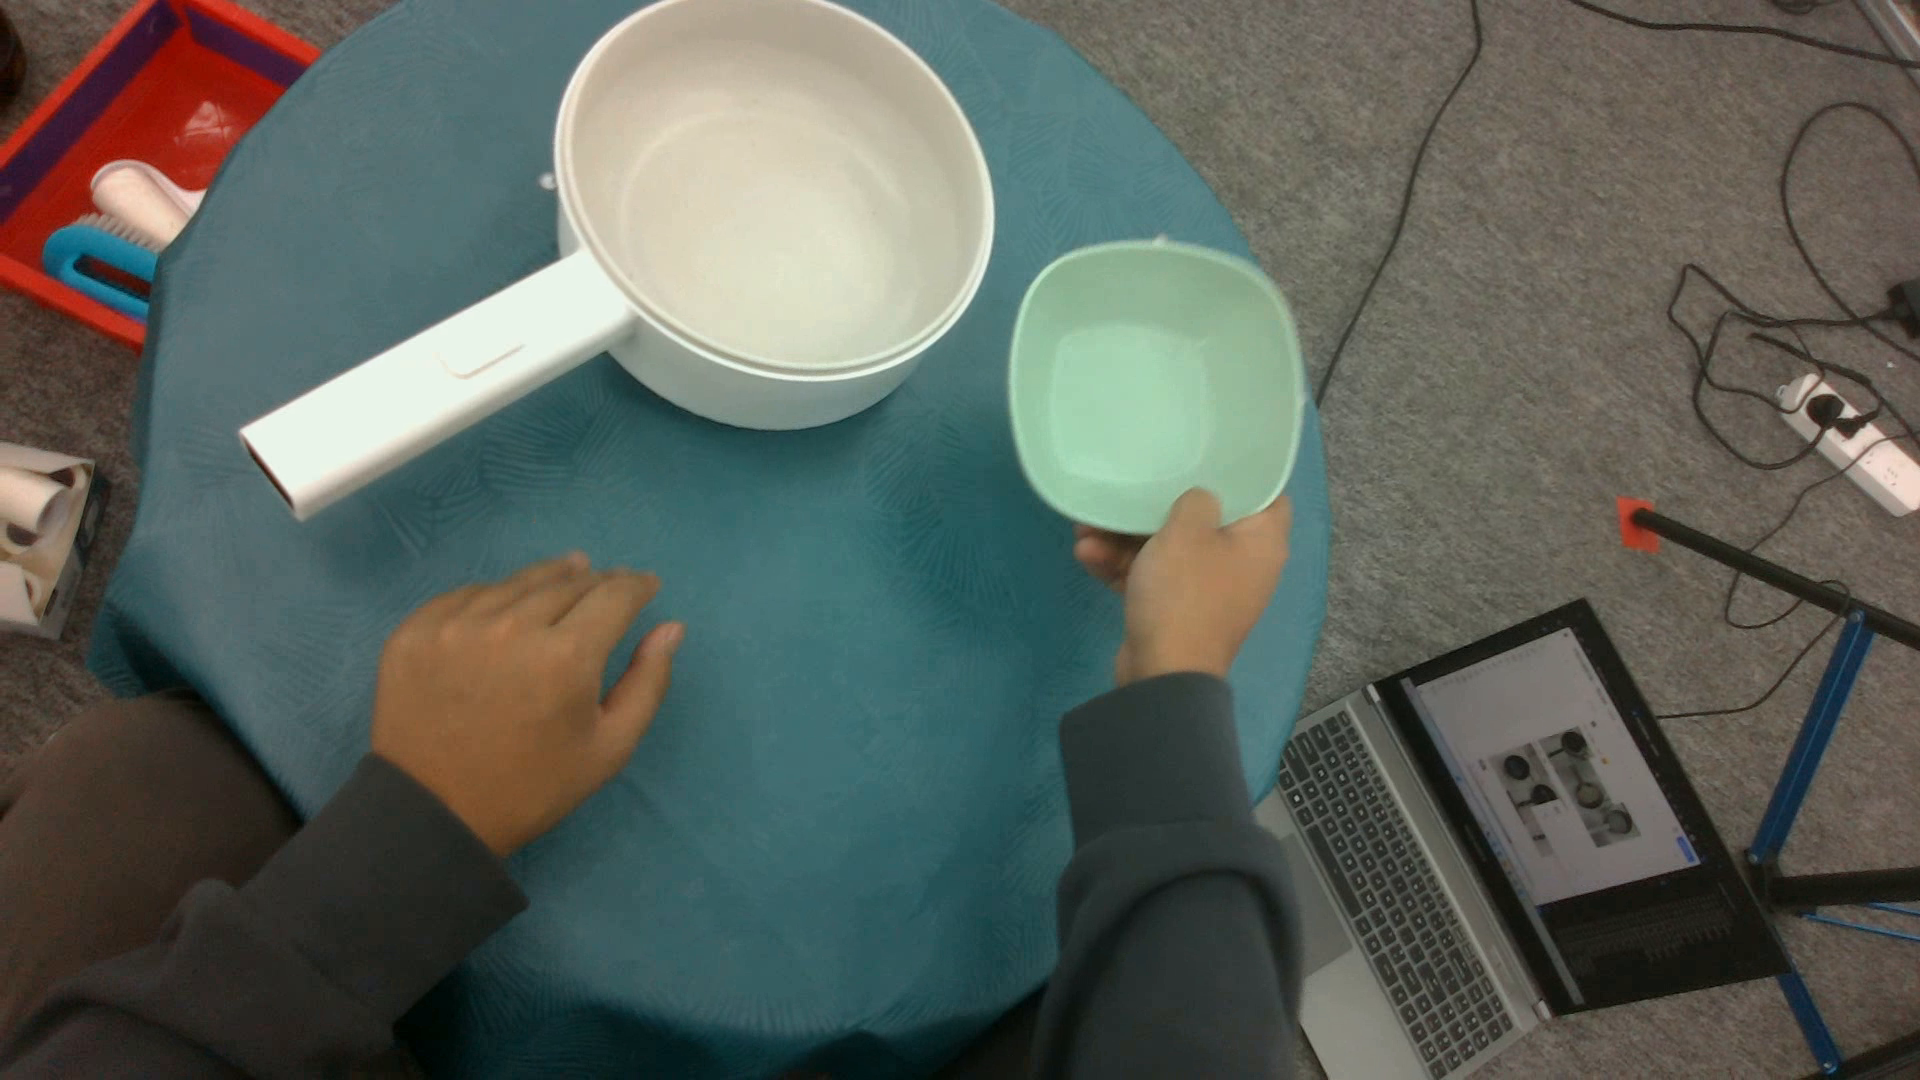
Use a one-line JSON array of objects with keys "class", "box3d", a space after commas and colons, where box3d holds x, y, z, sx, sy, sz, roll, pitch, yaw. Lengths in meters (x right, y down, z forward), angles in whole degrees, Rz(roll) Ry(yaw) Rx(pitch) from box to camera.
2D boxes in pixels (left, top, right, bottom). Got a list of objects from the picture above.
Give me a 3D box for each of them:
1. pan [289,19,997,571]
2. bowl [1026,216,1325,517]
[{"class": "pan", "box3d": [-0.144, -0.099, 0.657, 0.356, 0.101, 0.201, -41, 90, -23]}, {"class": "bowl", "box3d": [0.097, -0.079, 0.657, 0.151, 0.058, 0.151, 0, 87, -4]}]
